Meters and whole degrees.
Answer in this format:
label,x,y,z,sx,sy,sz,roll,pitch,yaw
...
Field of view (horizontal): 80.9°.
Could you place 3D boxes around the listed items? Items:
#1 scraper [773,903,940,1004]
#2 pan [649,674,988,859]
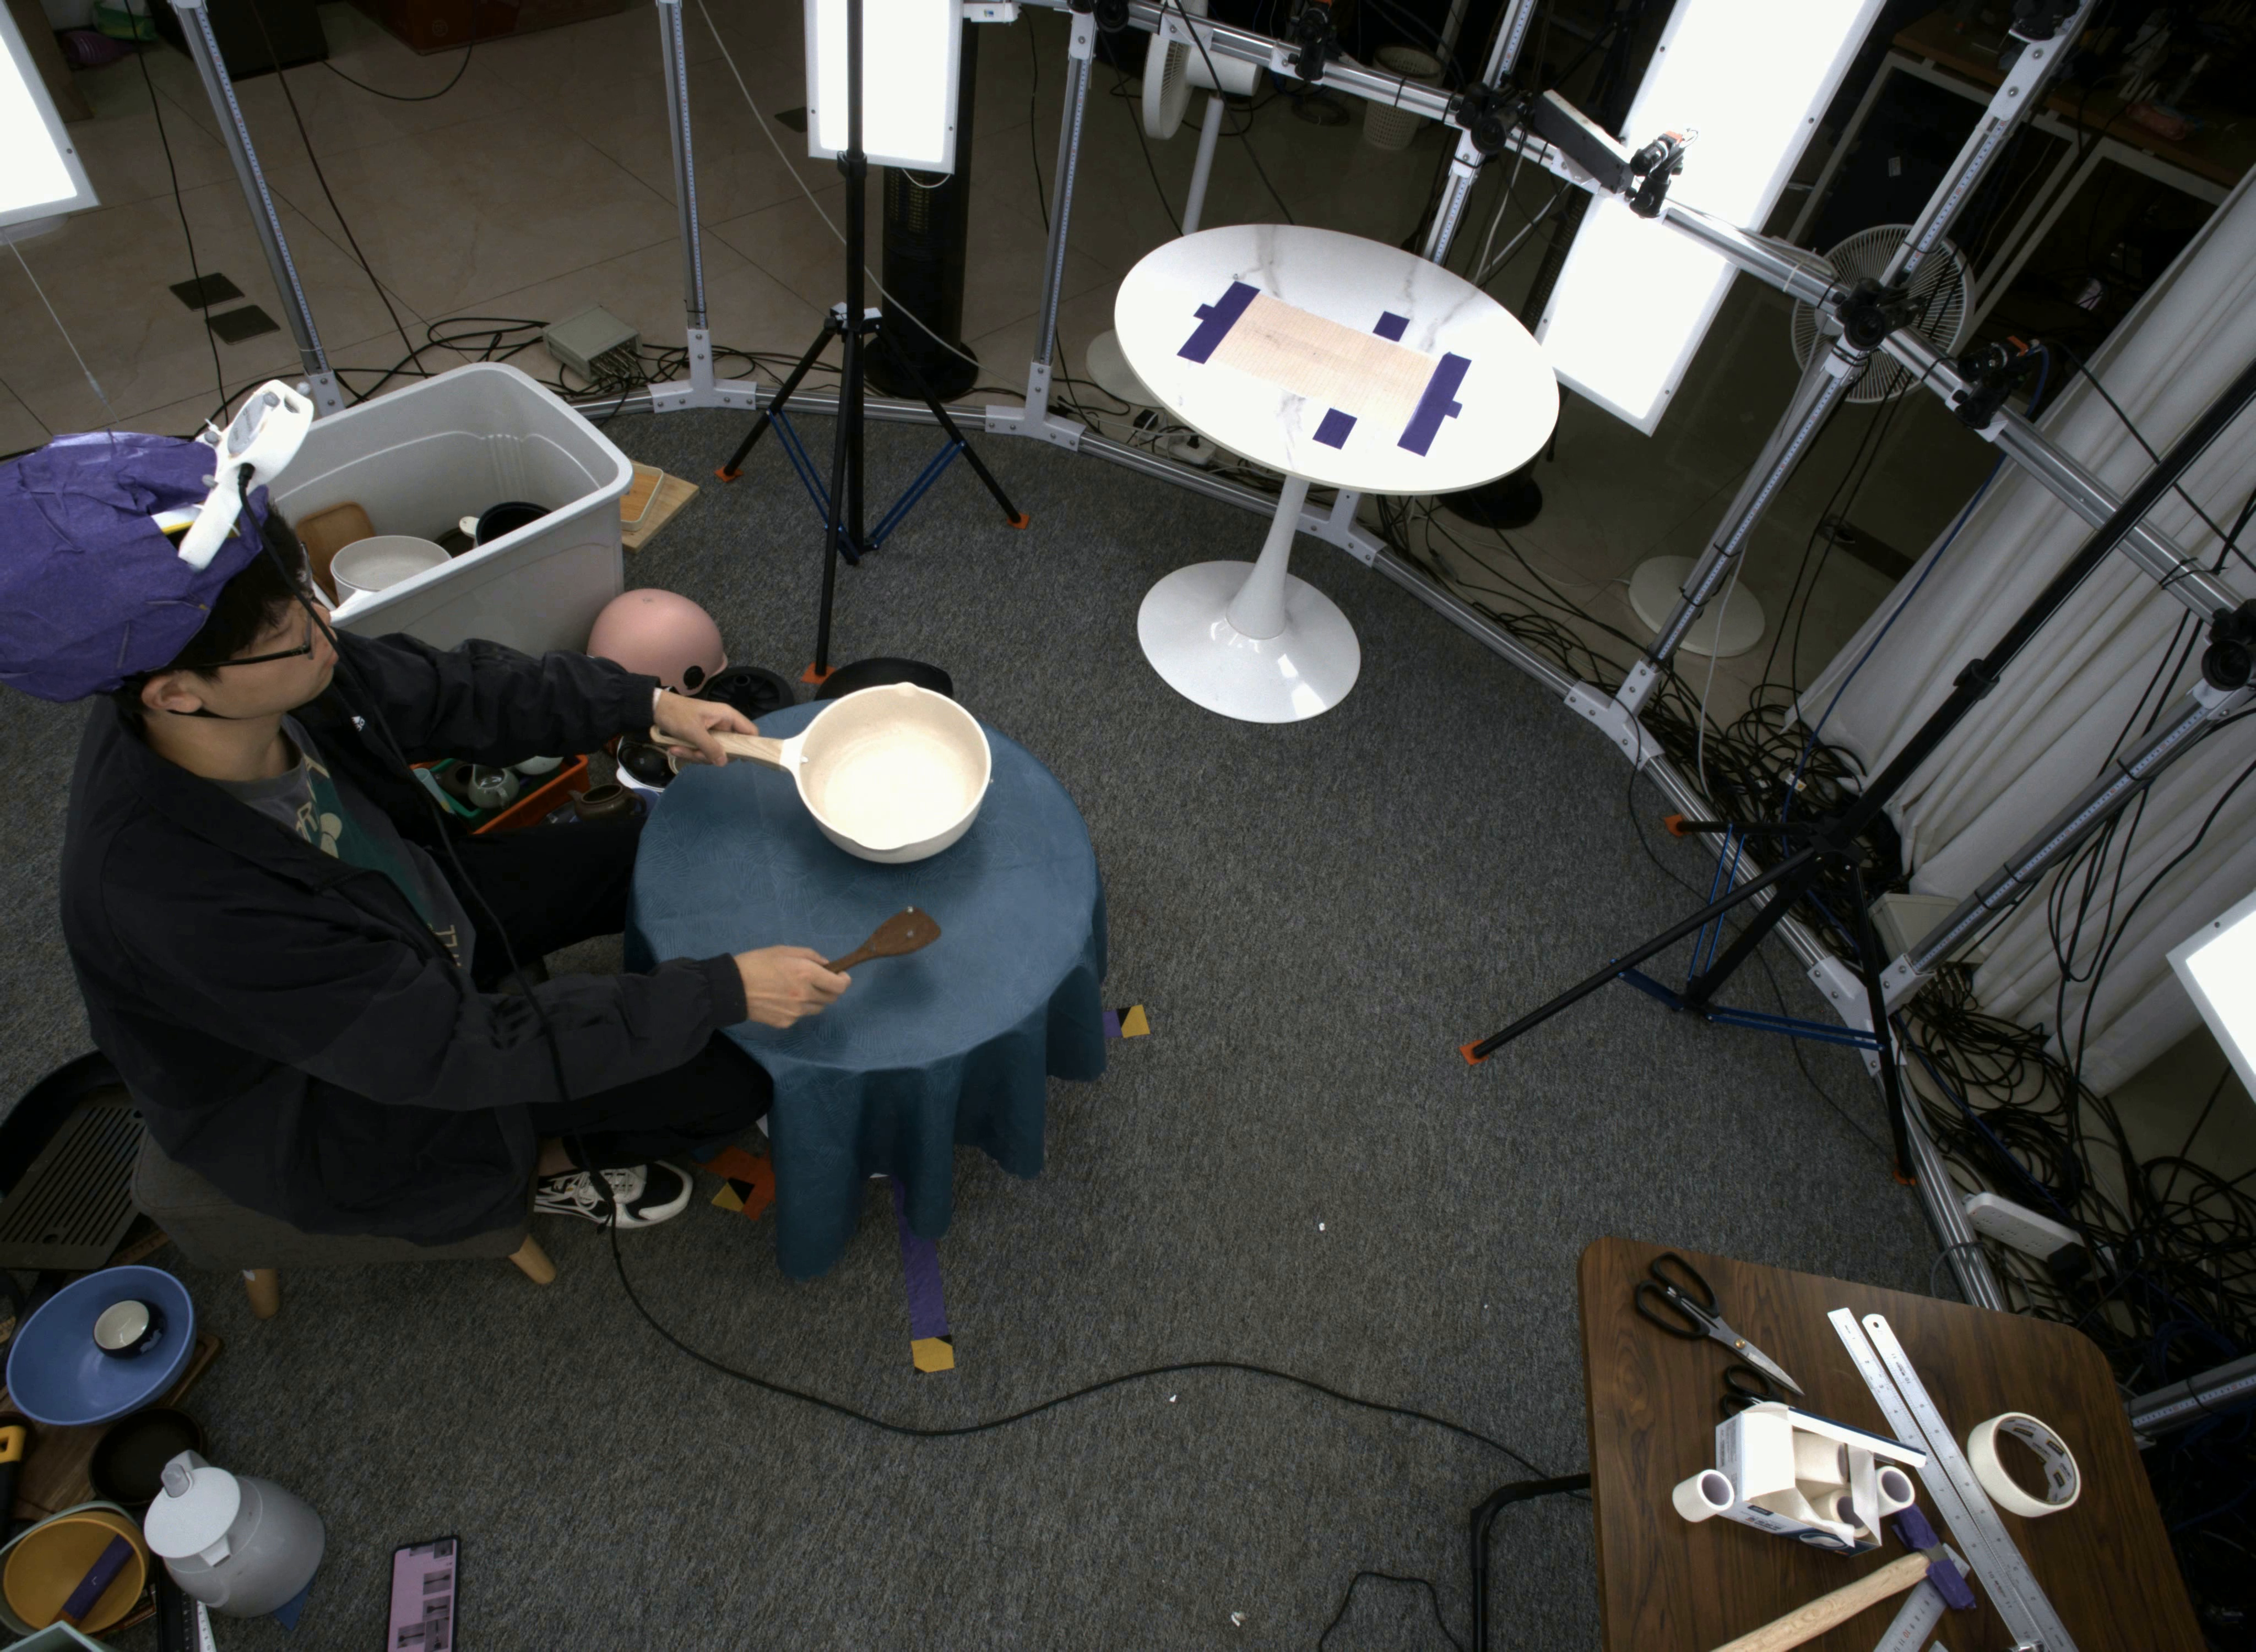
label,x,y,z,sx,sy,sz,roll,pitch,yaw
scraper,-0.324,0.153,1.540,0.212,0.011,0.073,-29,42,-28
pan,-0.399,-0.080,1.696,0.432,0.104,0.260,4,61,-5
